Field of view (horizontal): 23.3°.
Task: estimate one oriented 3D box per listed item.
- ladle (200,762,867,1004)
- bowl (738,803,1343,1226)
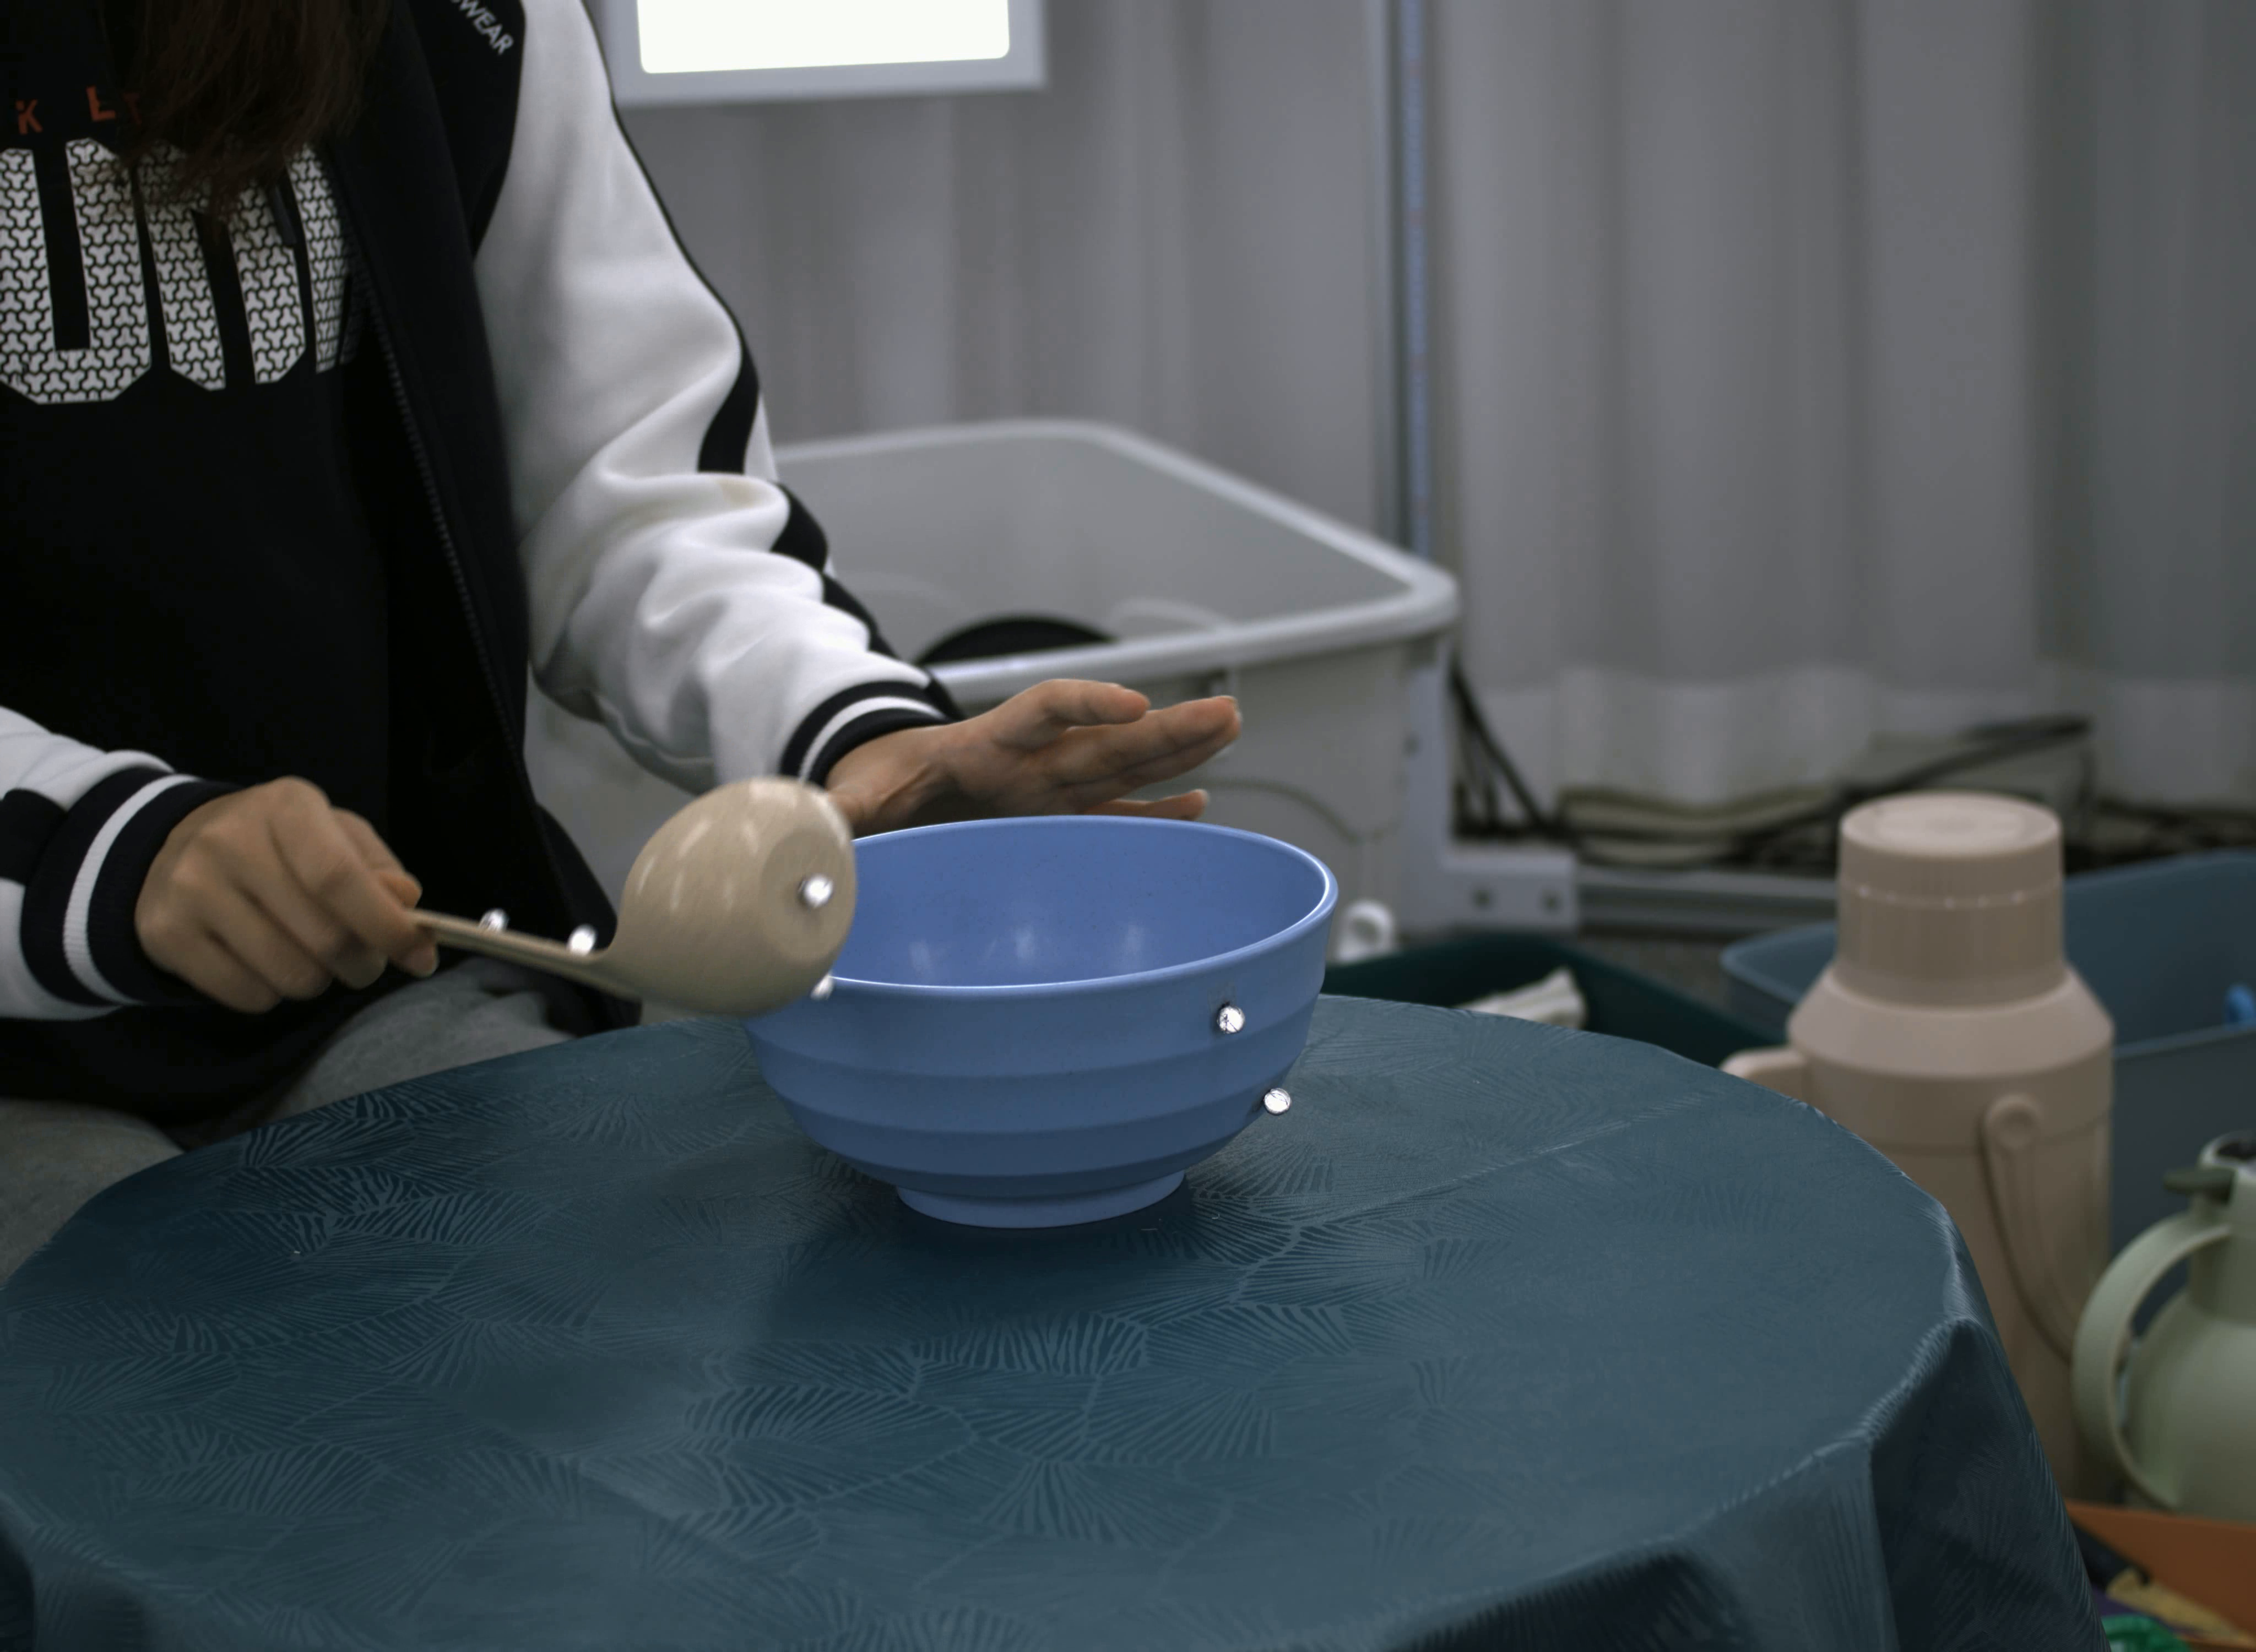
[{"bbox_3d":[-0.183,0.007,1.665,0.255,0.071,0.073,7,58,42],"label":"ladle"},{"bbox_3d":[-0.031,0.065,1.717,0.196,0.095,0.198,0,16,0],"label":"bowl"}]
